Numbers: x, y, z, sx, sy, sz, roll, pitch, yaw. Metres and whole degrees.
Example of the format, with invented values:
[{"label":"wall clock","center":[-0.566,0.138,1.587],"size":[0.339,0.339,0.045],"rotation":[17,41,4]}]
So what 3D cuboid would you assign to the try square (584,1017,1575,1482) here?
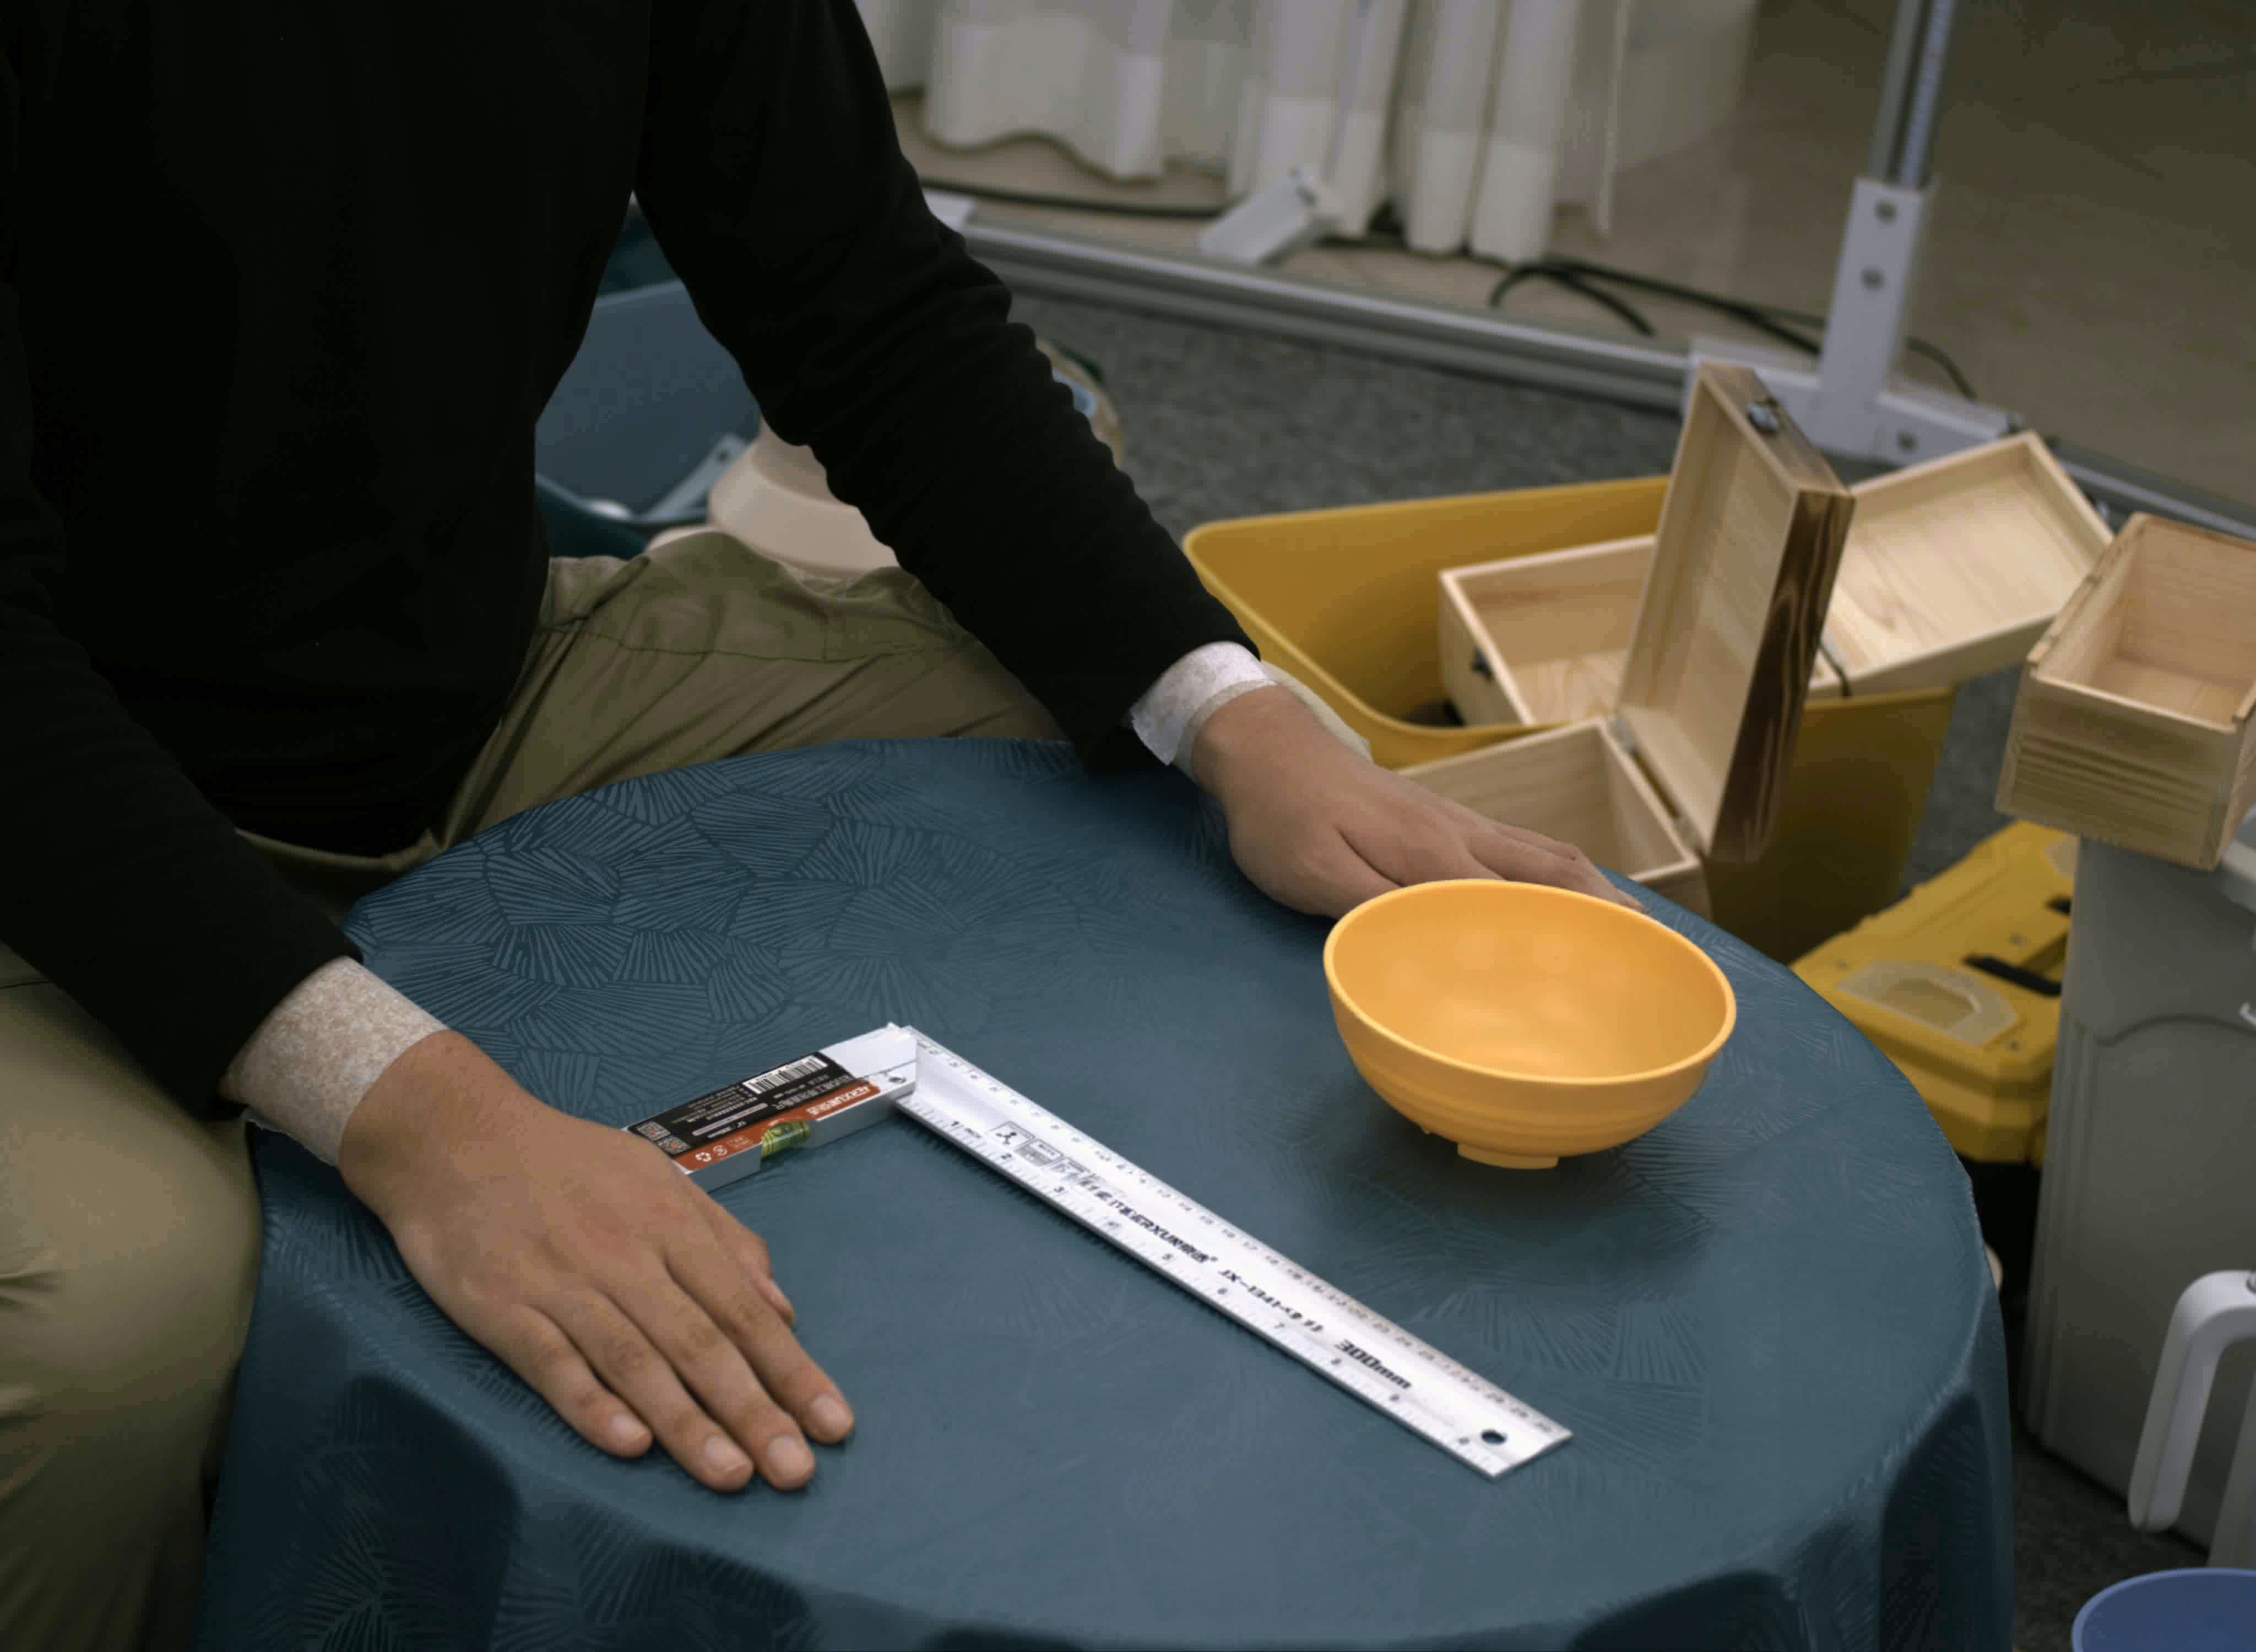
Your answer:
[{"label":"try square","center":[-0.020,0.154,1.736],"size":[0.315,0.016,0.151],"rotation":[30,38,36]}]

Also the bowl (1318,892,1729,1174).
[{"label":"bowl","center":[0.134,0.080,1.857],"size":[0.145,0.060,0.146],"rotation":[6,24,-3]}]
